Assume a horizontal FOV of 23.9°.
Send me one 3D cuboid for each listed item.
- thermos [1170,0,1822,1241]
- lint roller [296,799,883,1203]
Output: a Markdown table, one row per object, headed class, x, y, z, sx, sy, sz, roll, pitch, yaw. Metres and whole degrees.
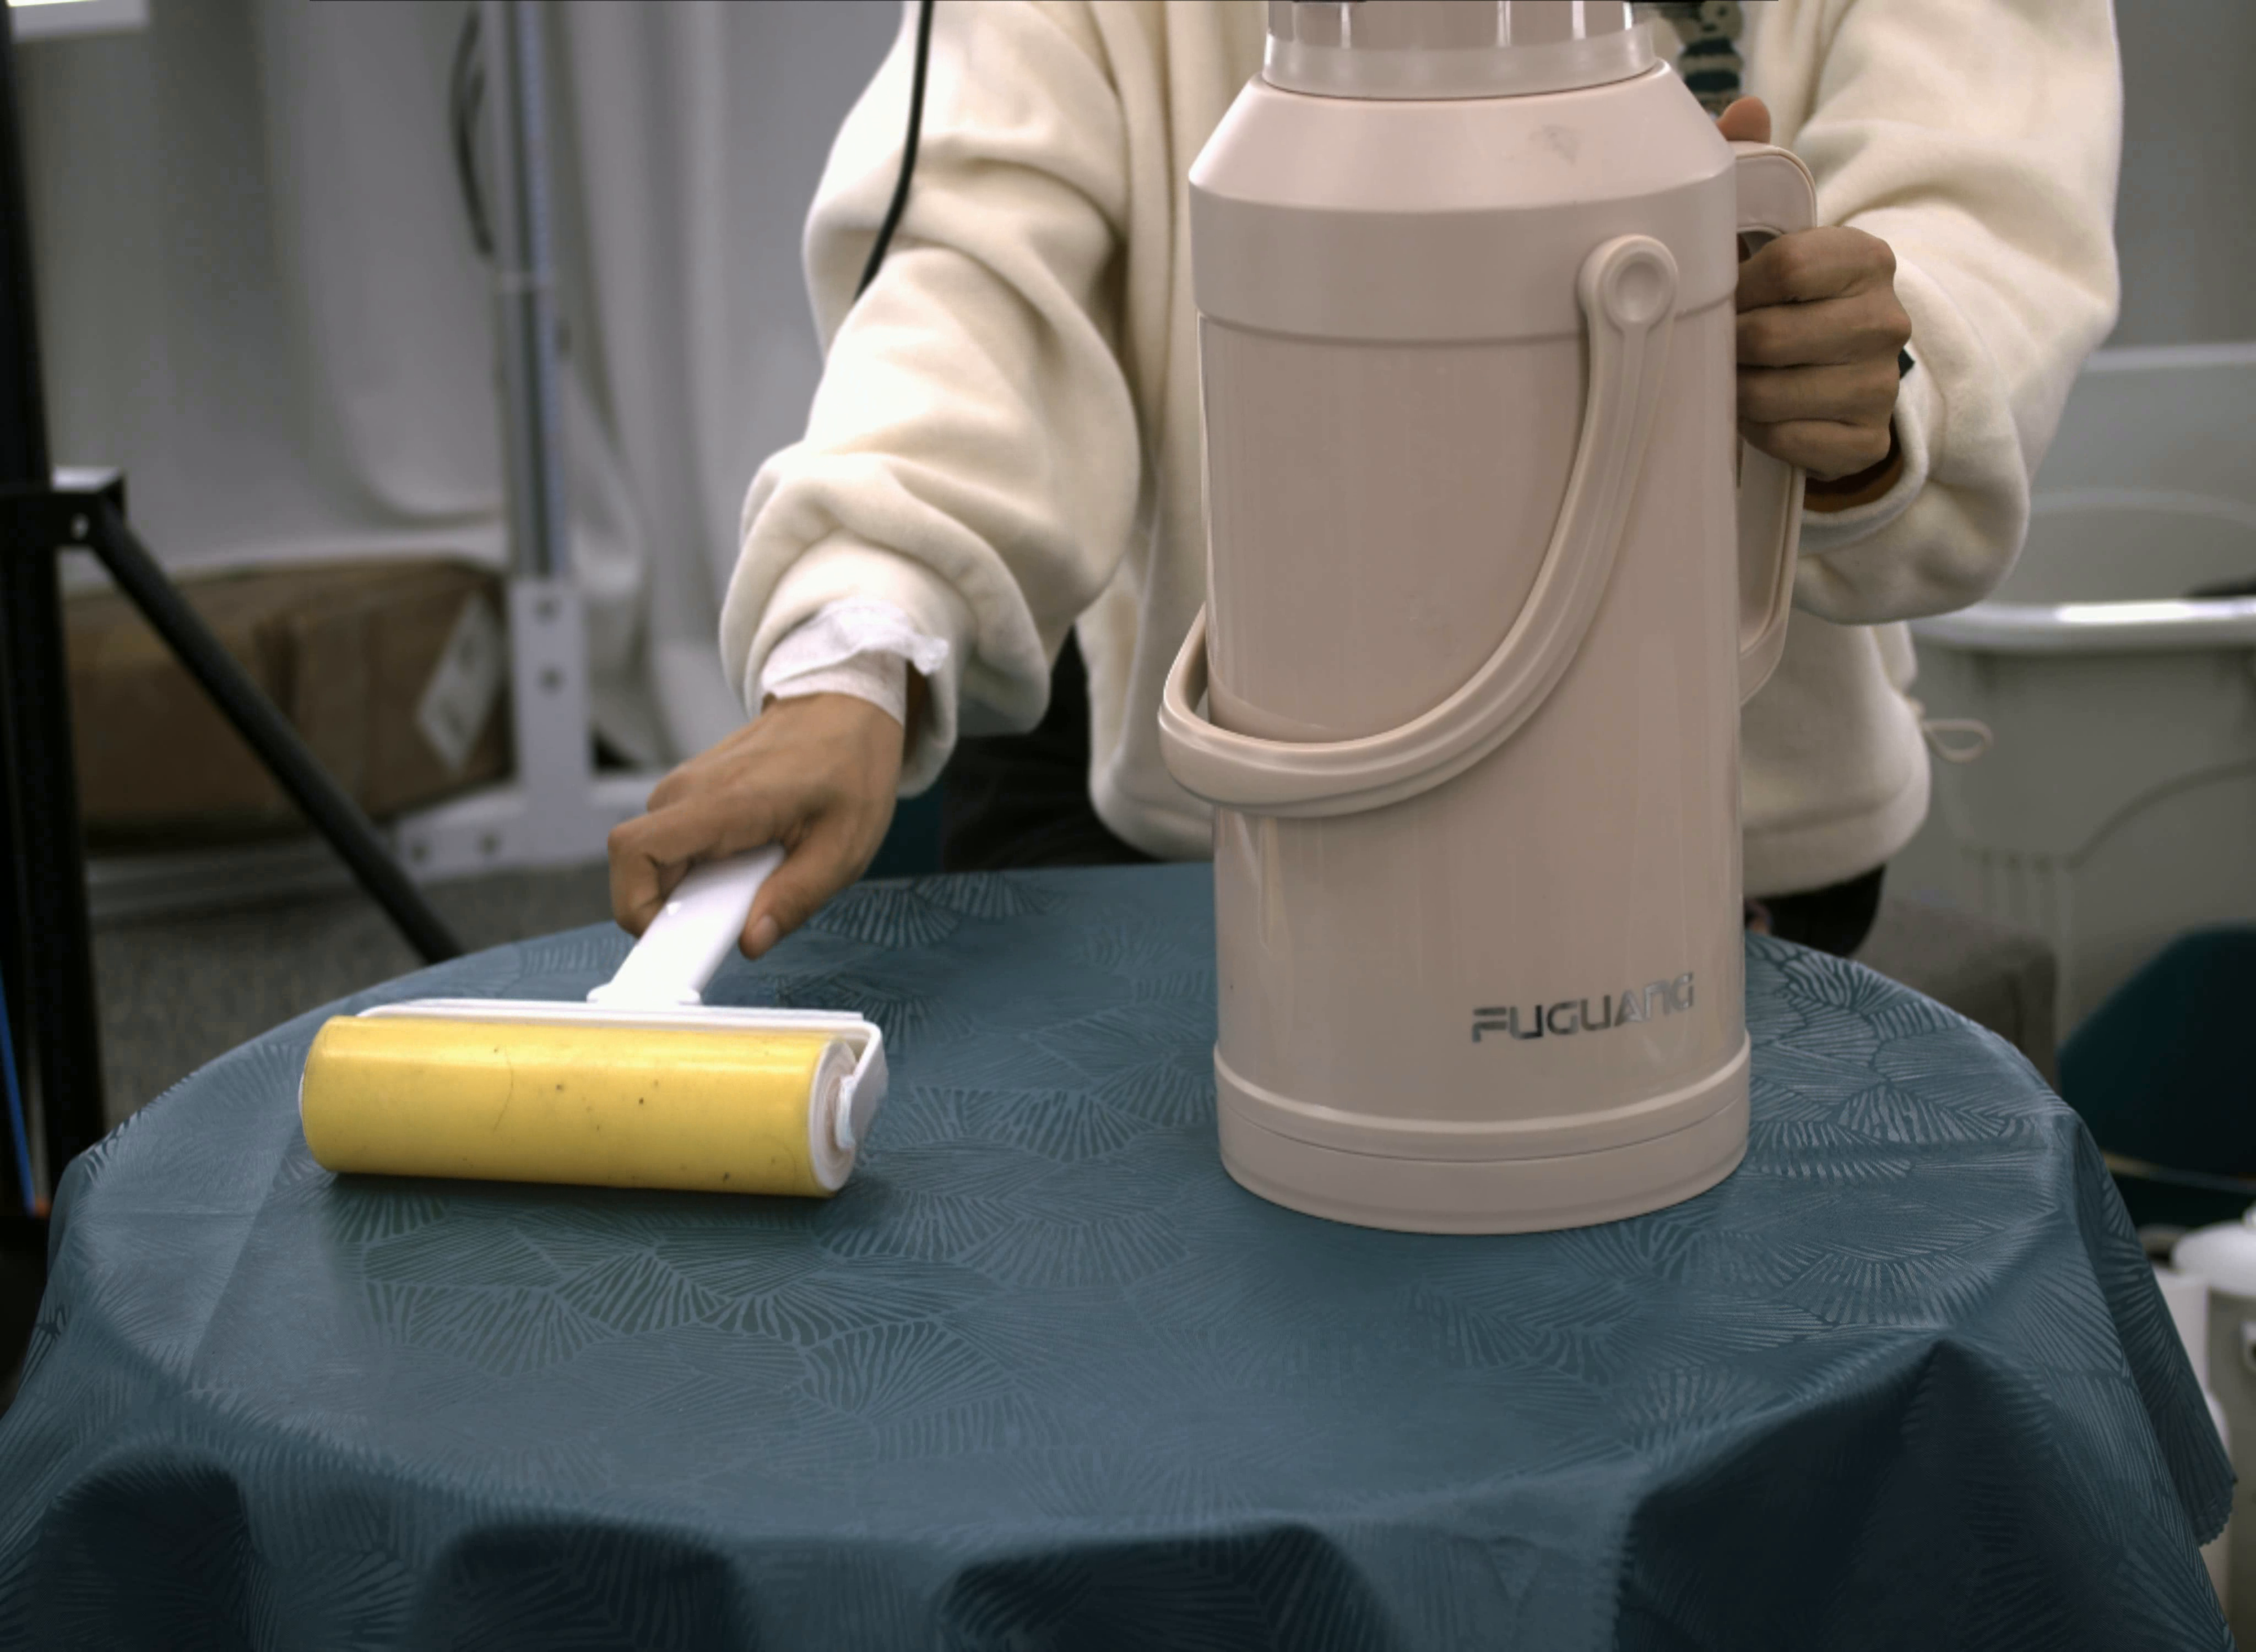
| class | x | y | z | sx | sy | sz | roll | pitch | yaw |
| --- | --- | --- | --- | --- | --- | --- | --- | --- | --- |
| thermos | 0.111 | -0.096 | 1.536 | 0.202 | 0.406 | 0.179 | -10 | 16 | -27 |
| lint roller | -0.147 | 0.040 | 1.635 | 0.176 | 0.051 | 0.192 | 1 | 40 | 17 |
